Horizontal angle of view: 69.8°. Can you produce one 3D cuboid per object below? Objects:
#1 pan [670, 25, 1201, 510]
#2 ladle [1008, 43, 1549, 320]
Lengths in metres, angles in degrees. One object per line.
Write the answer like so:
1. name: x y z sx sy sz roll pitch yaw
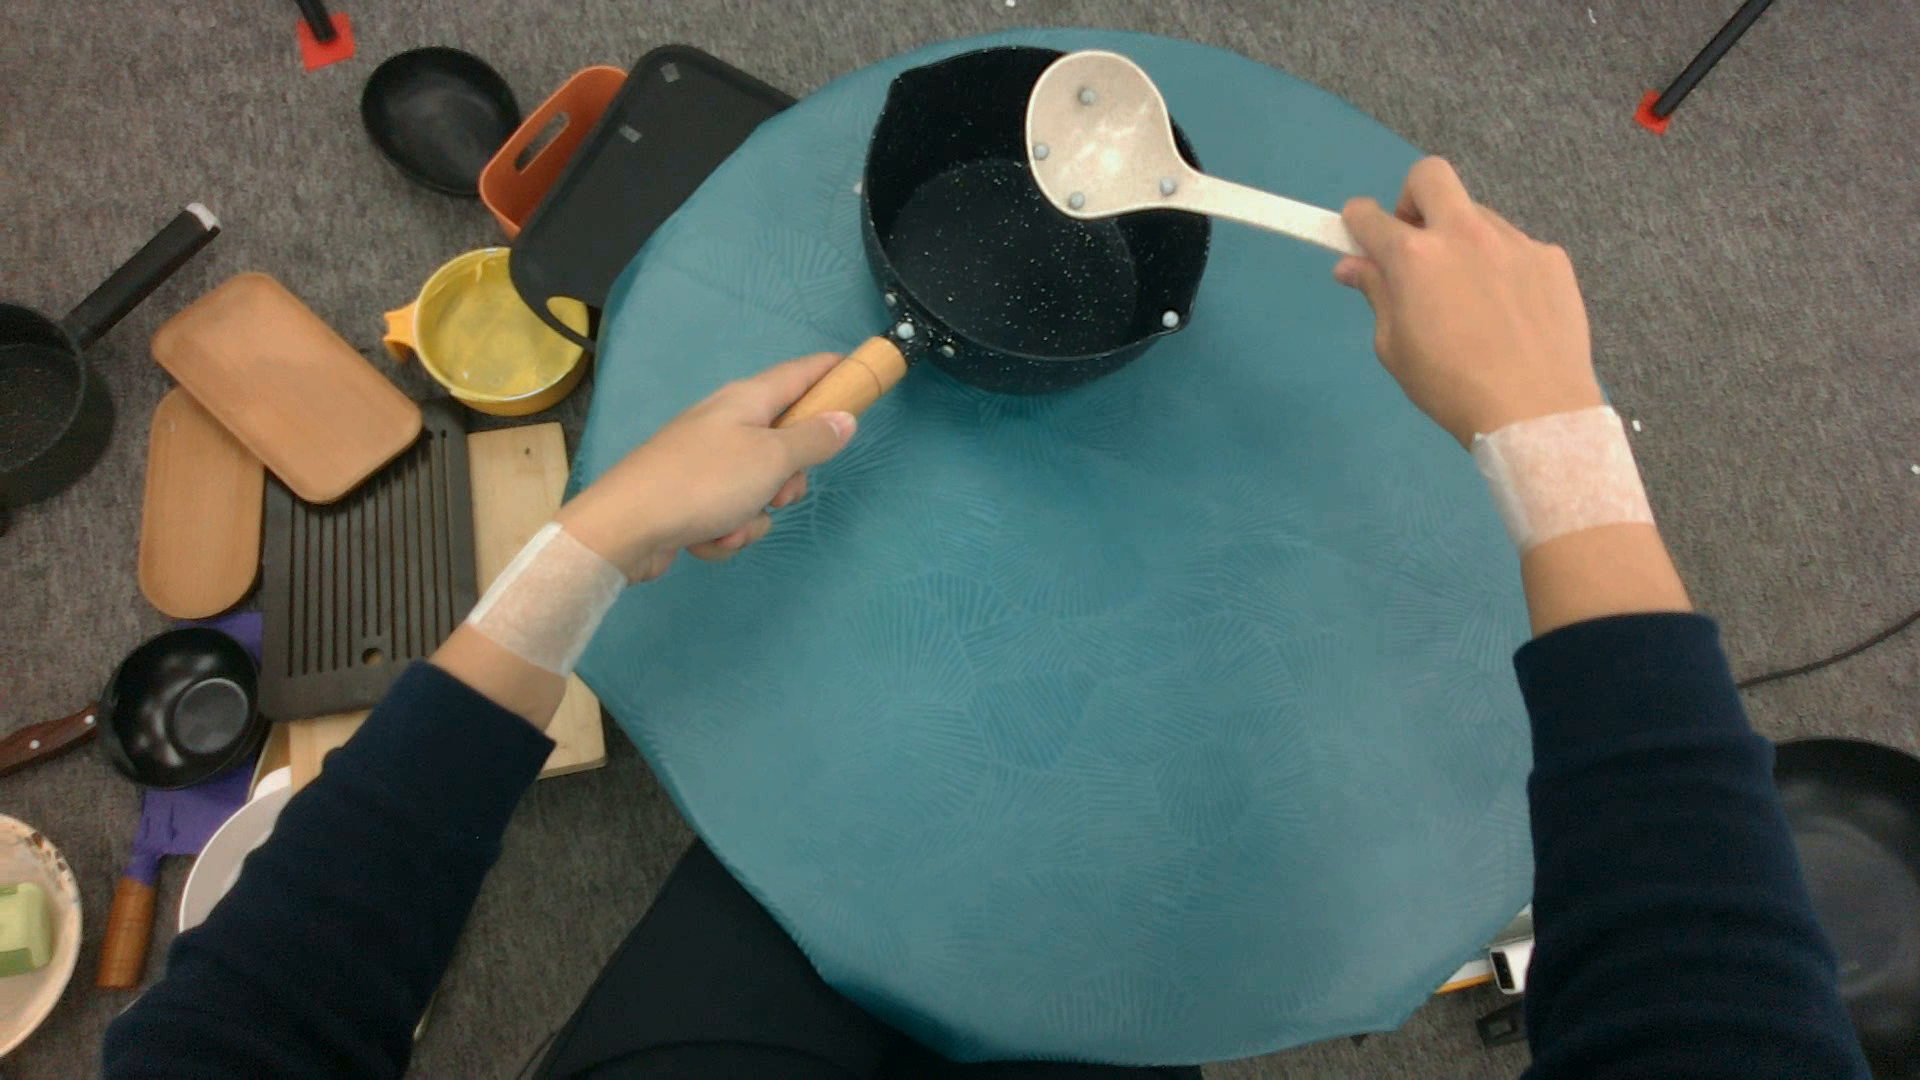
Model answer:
1. pan: -0.019 -0.122 0.711 0.207 0.108 0.344 41 69 3
2. ladle: 0.145 -0.171 0.653 0.275 0.069 0.089 26 67 30
